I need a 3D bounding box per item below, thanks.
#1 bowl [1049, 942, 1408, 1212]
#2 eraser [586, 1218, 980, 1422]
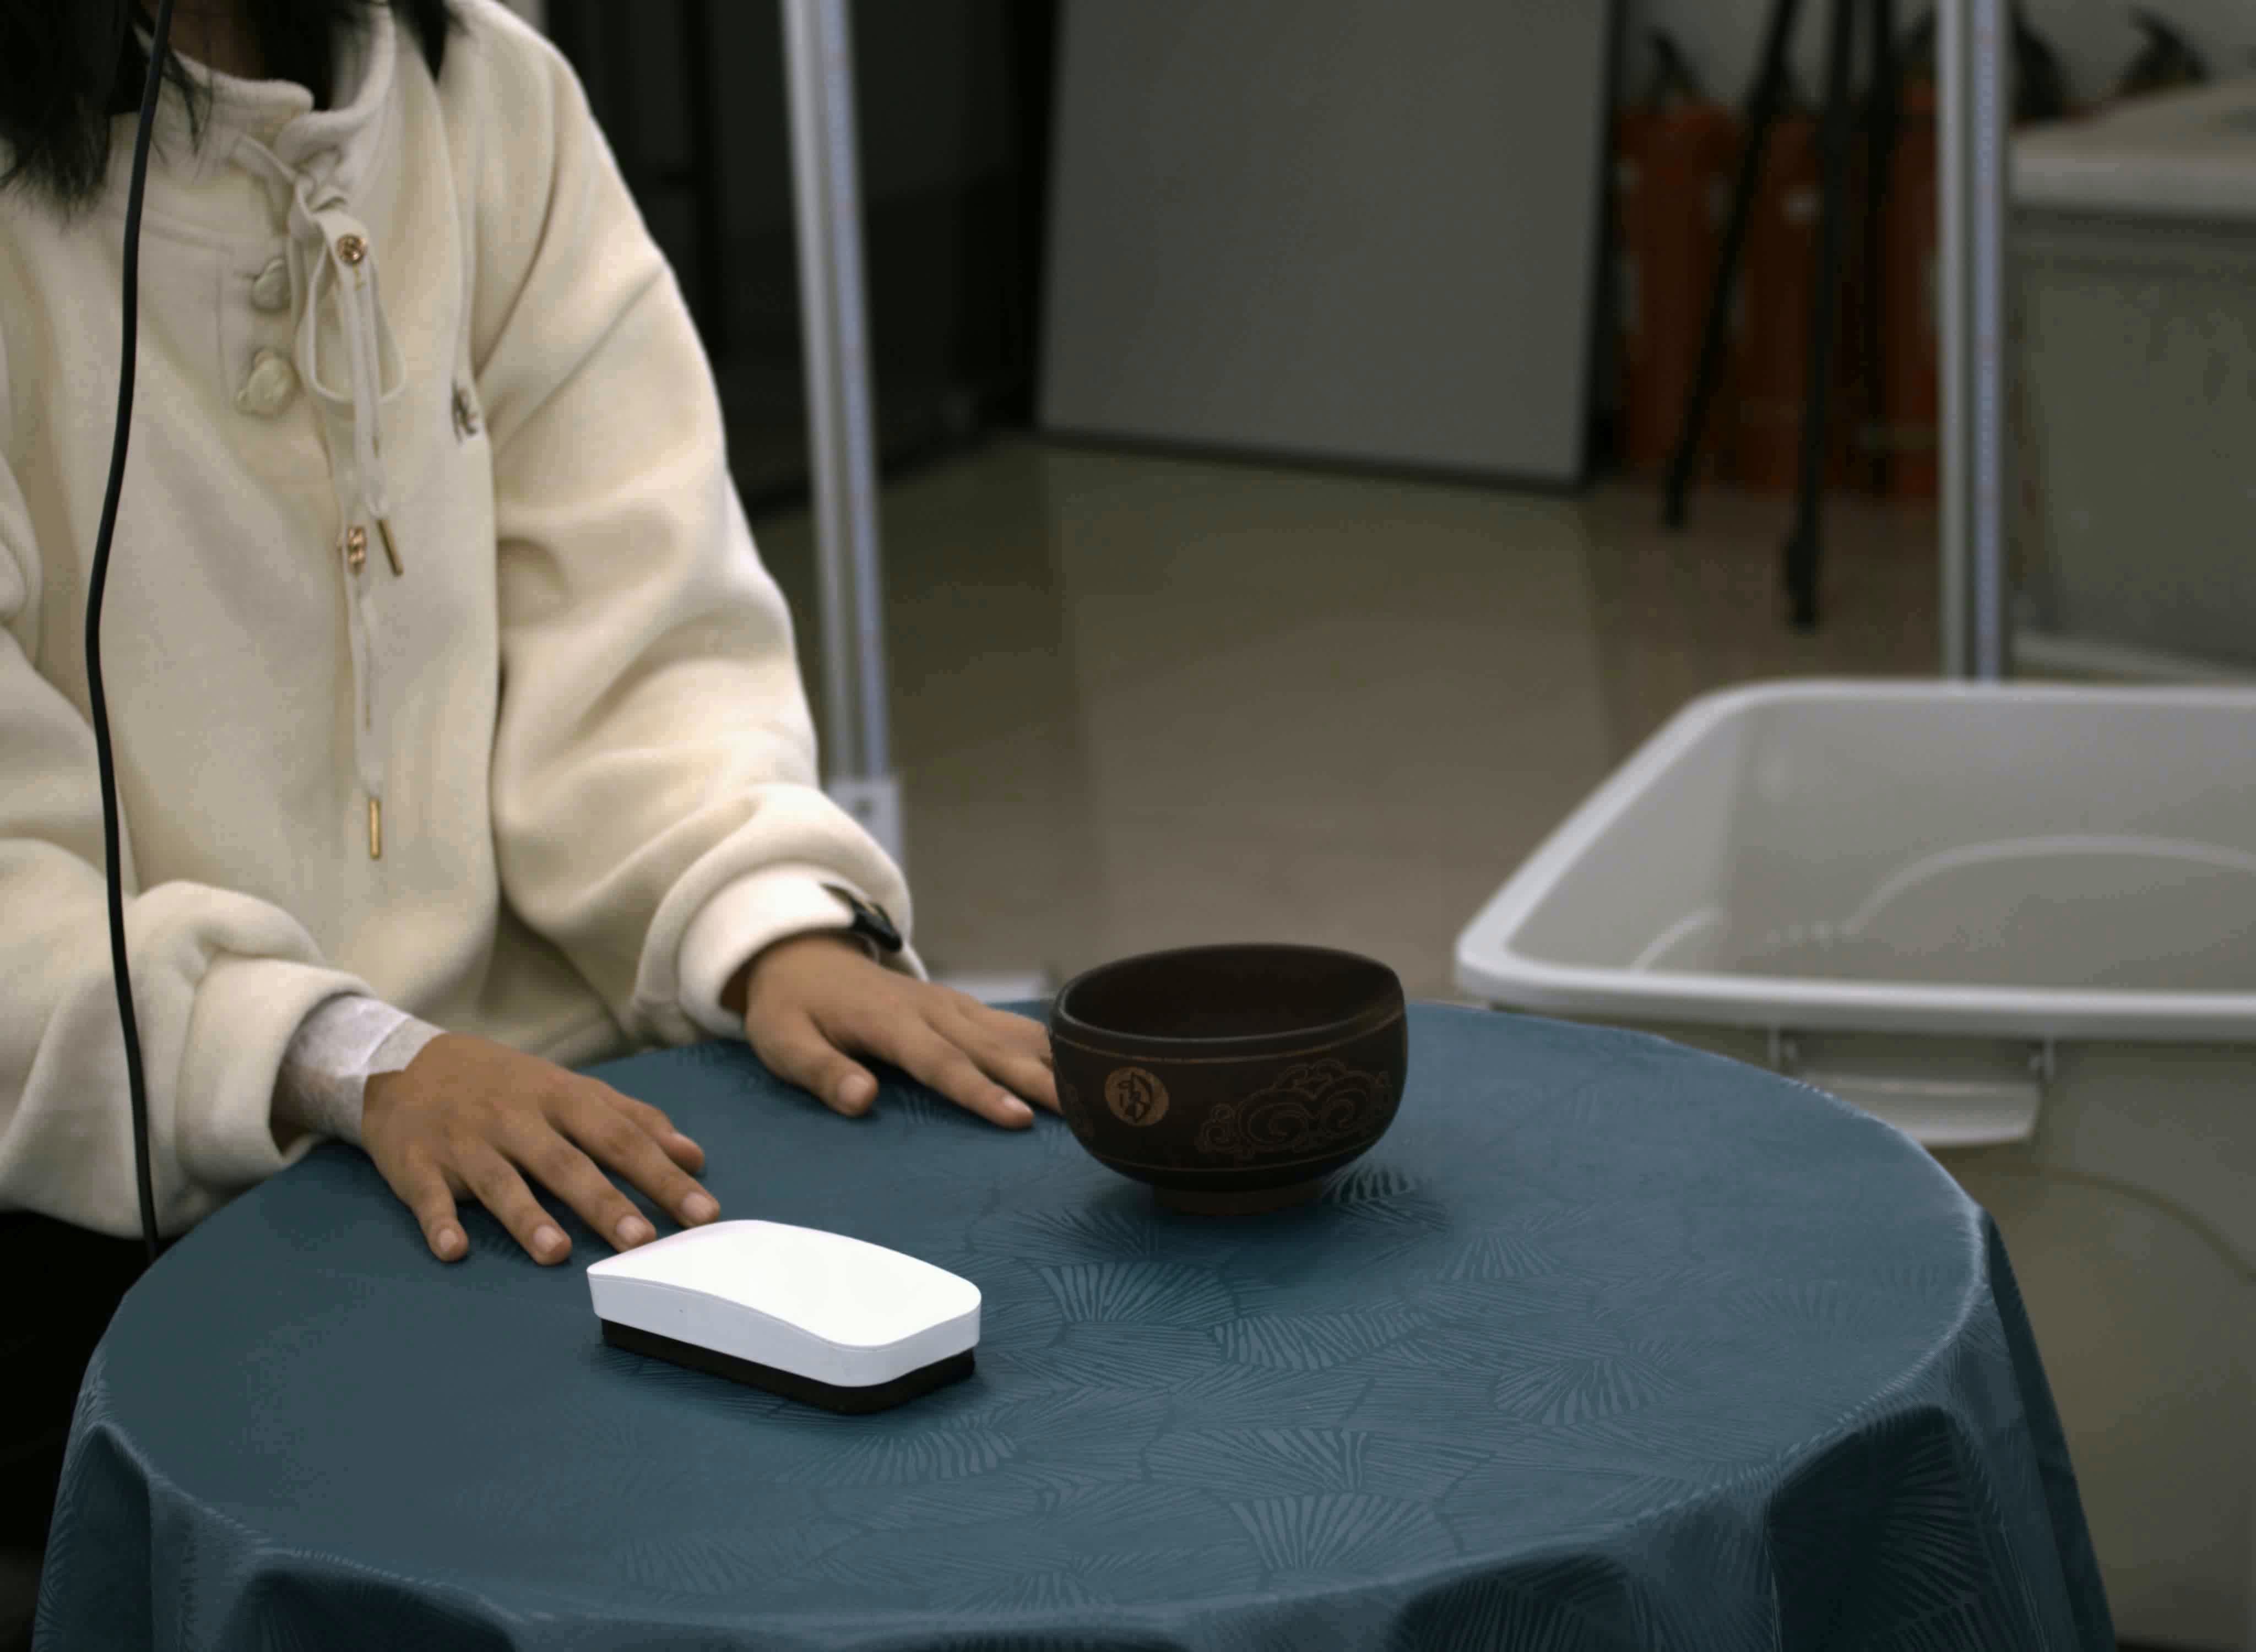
[{"bbox_3d":[0.034,0.085,1.756,0.116,0.070,0.118,-3,12,0],"label":"bowl"},{"bbox_3d":[-0.104,0.147,1.634,0.062,0.035,0.132,-17,19,-42],"label":"eraser"}]
